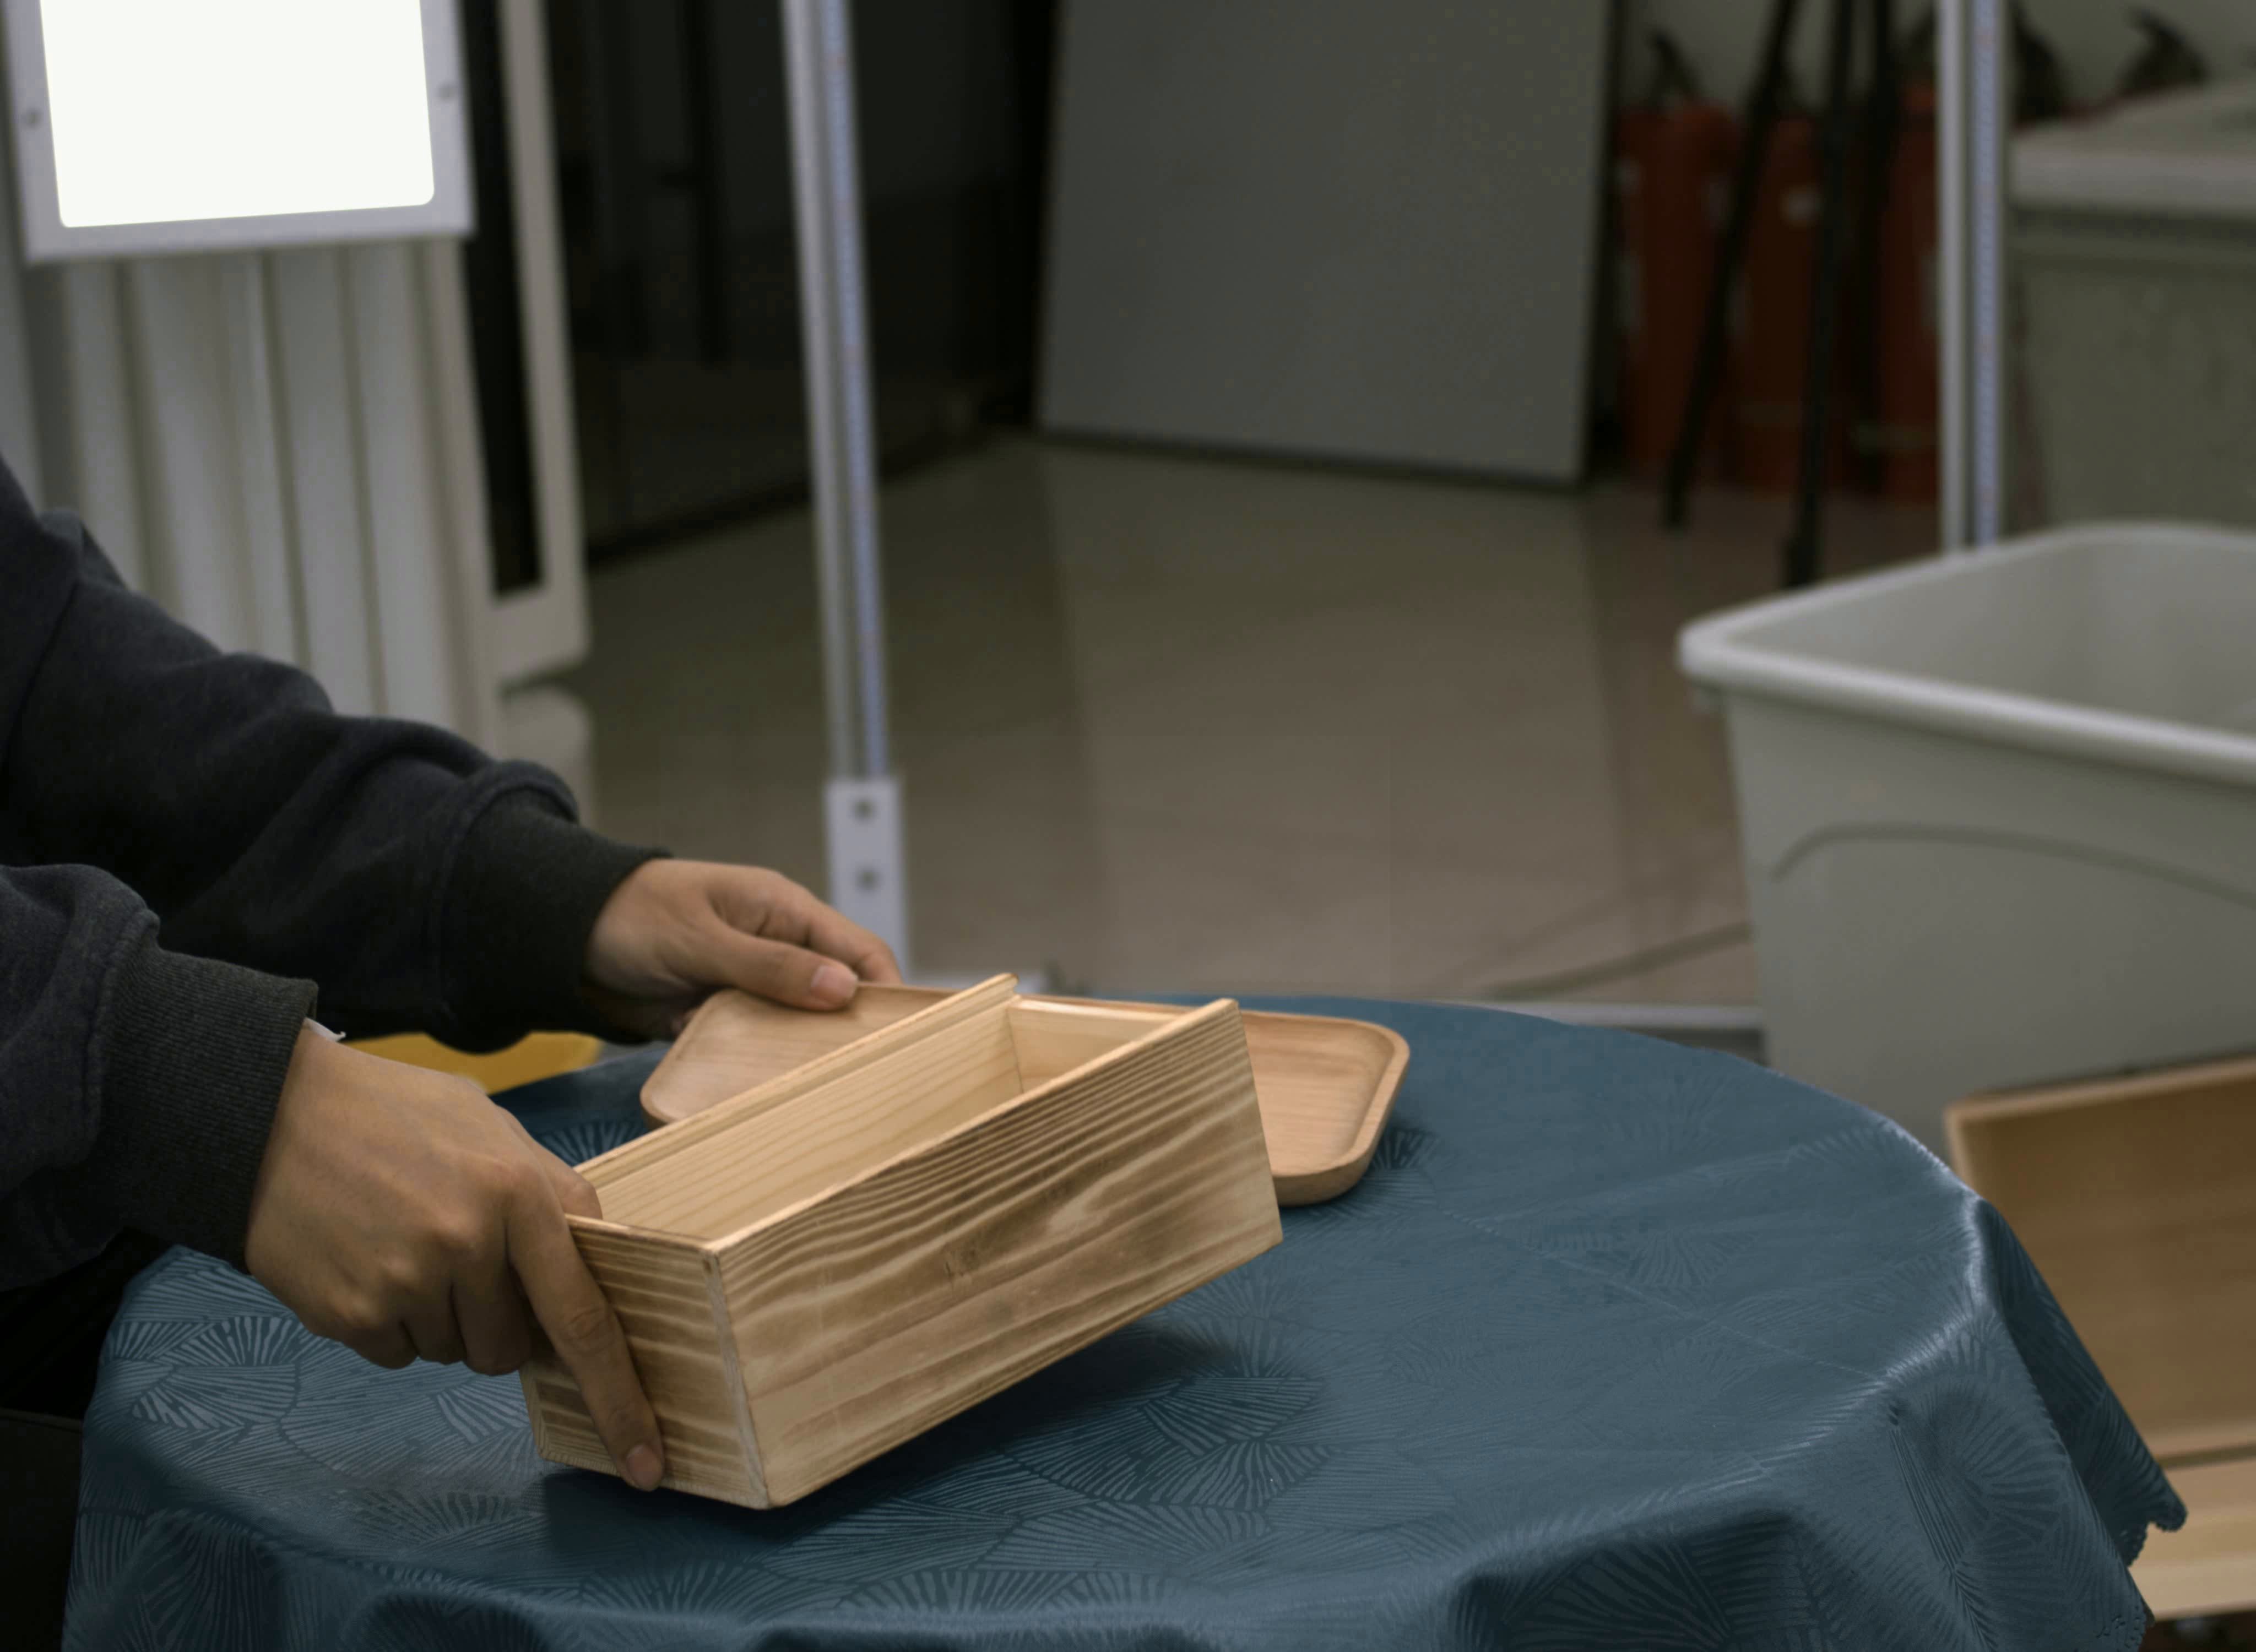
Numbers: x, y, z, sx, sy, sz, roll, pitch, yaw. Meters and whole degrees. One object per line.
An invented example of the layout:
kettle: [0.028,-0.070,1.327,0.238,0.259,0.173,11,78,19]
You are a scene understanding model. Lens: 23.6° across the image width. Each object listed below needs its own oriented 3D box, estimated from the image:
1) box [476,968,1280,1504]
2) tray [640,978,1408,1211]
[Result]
box: [-0.069,0.115,1.569,0.207,0.081,0.108,-24,18,-40]
tray: [-0.034,0.090,1.812,0.249,0.023,0.130,3,20,15]
